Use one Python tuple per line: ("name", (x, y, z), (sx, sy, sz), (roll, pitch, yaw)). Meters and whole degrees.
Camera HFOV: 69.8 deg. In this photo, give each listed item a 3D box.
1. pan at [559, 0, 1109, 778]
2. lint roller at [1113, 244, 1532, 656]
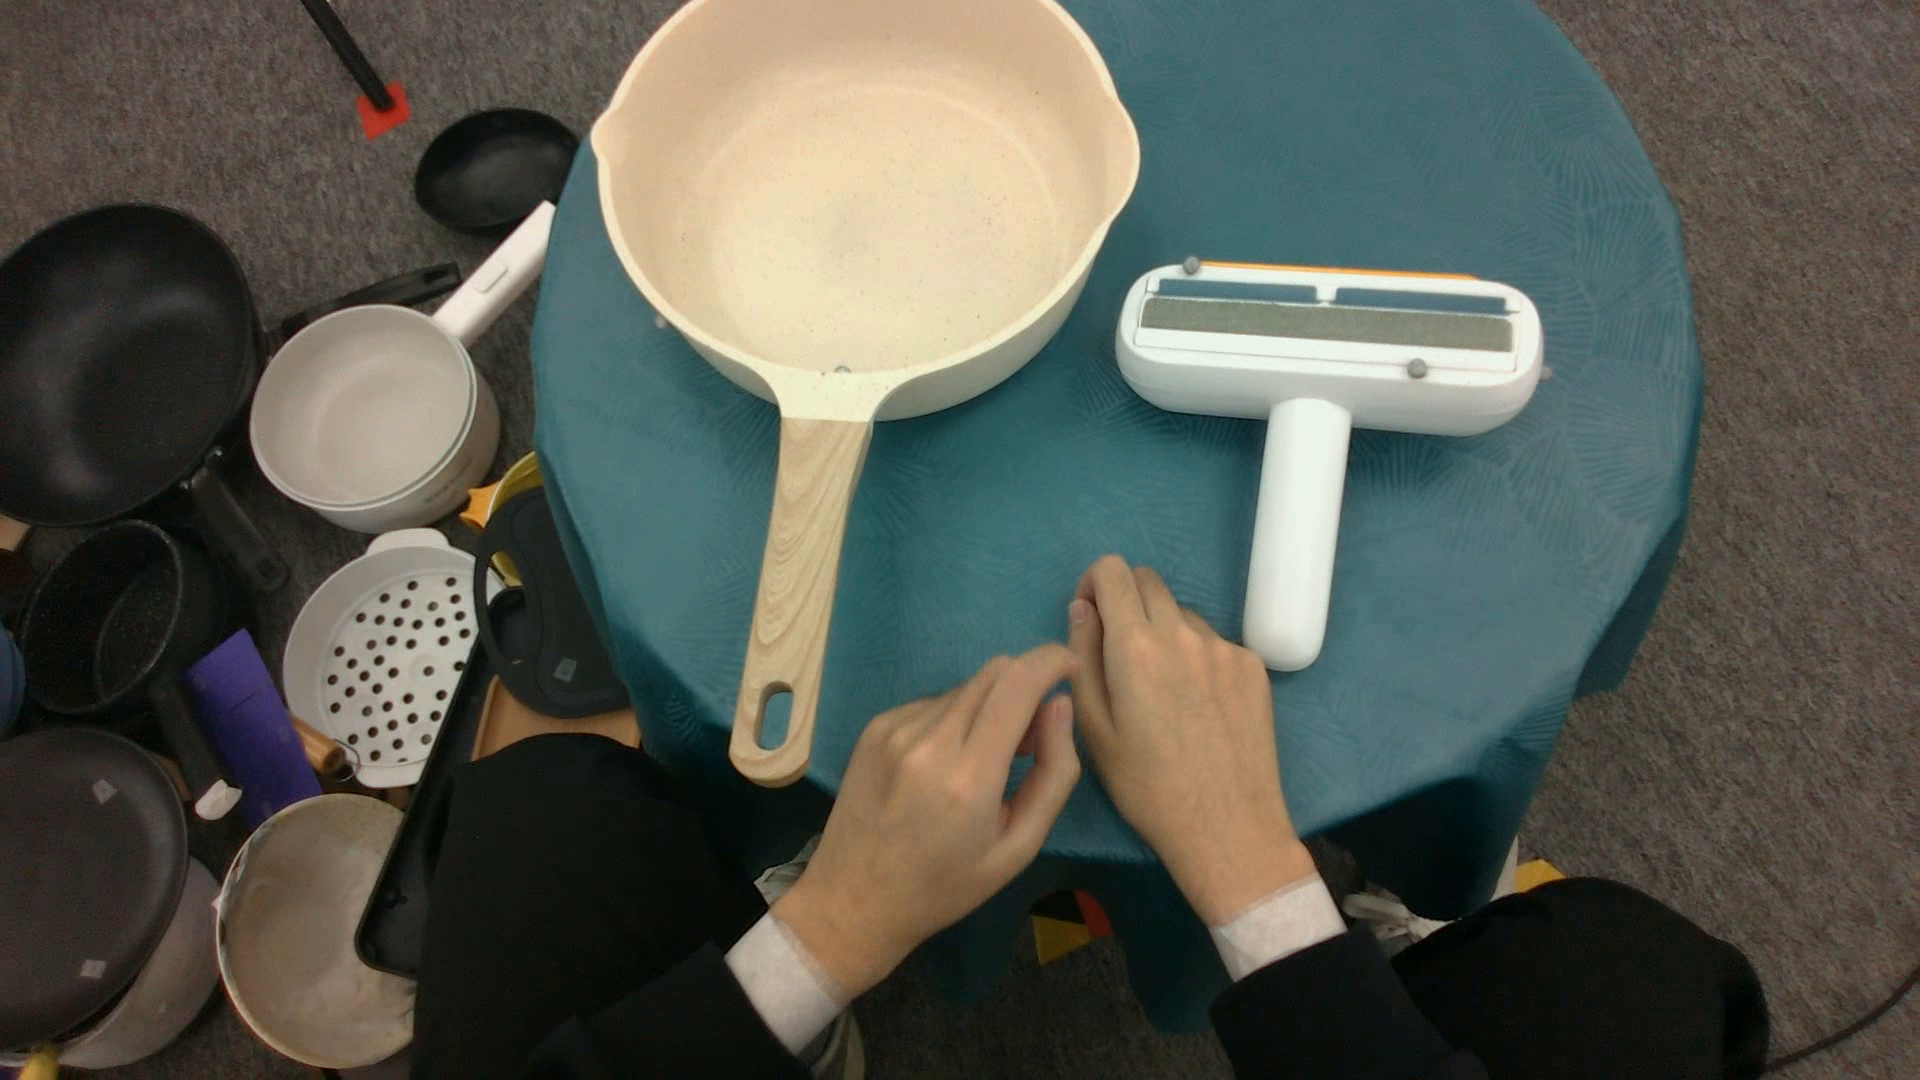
("pan", (-0.067, -0.097, 0.655), (0.263, 0.101, 0.436), (4, 69, 0))
("lint roller", (0.155, -0.042, 0.645), (0.193, 0.074, 0.193), (12, 72, 11))
